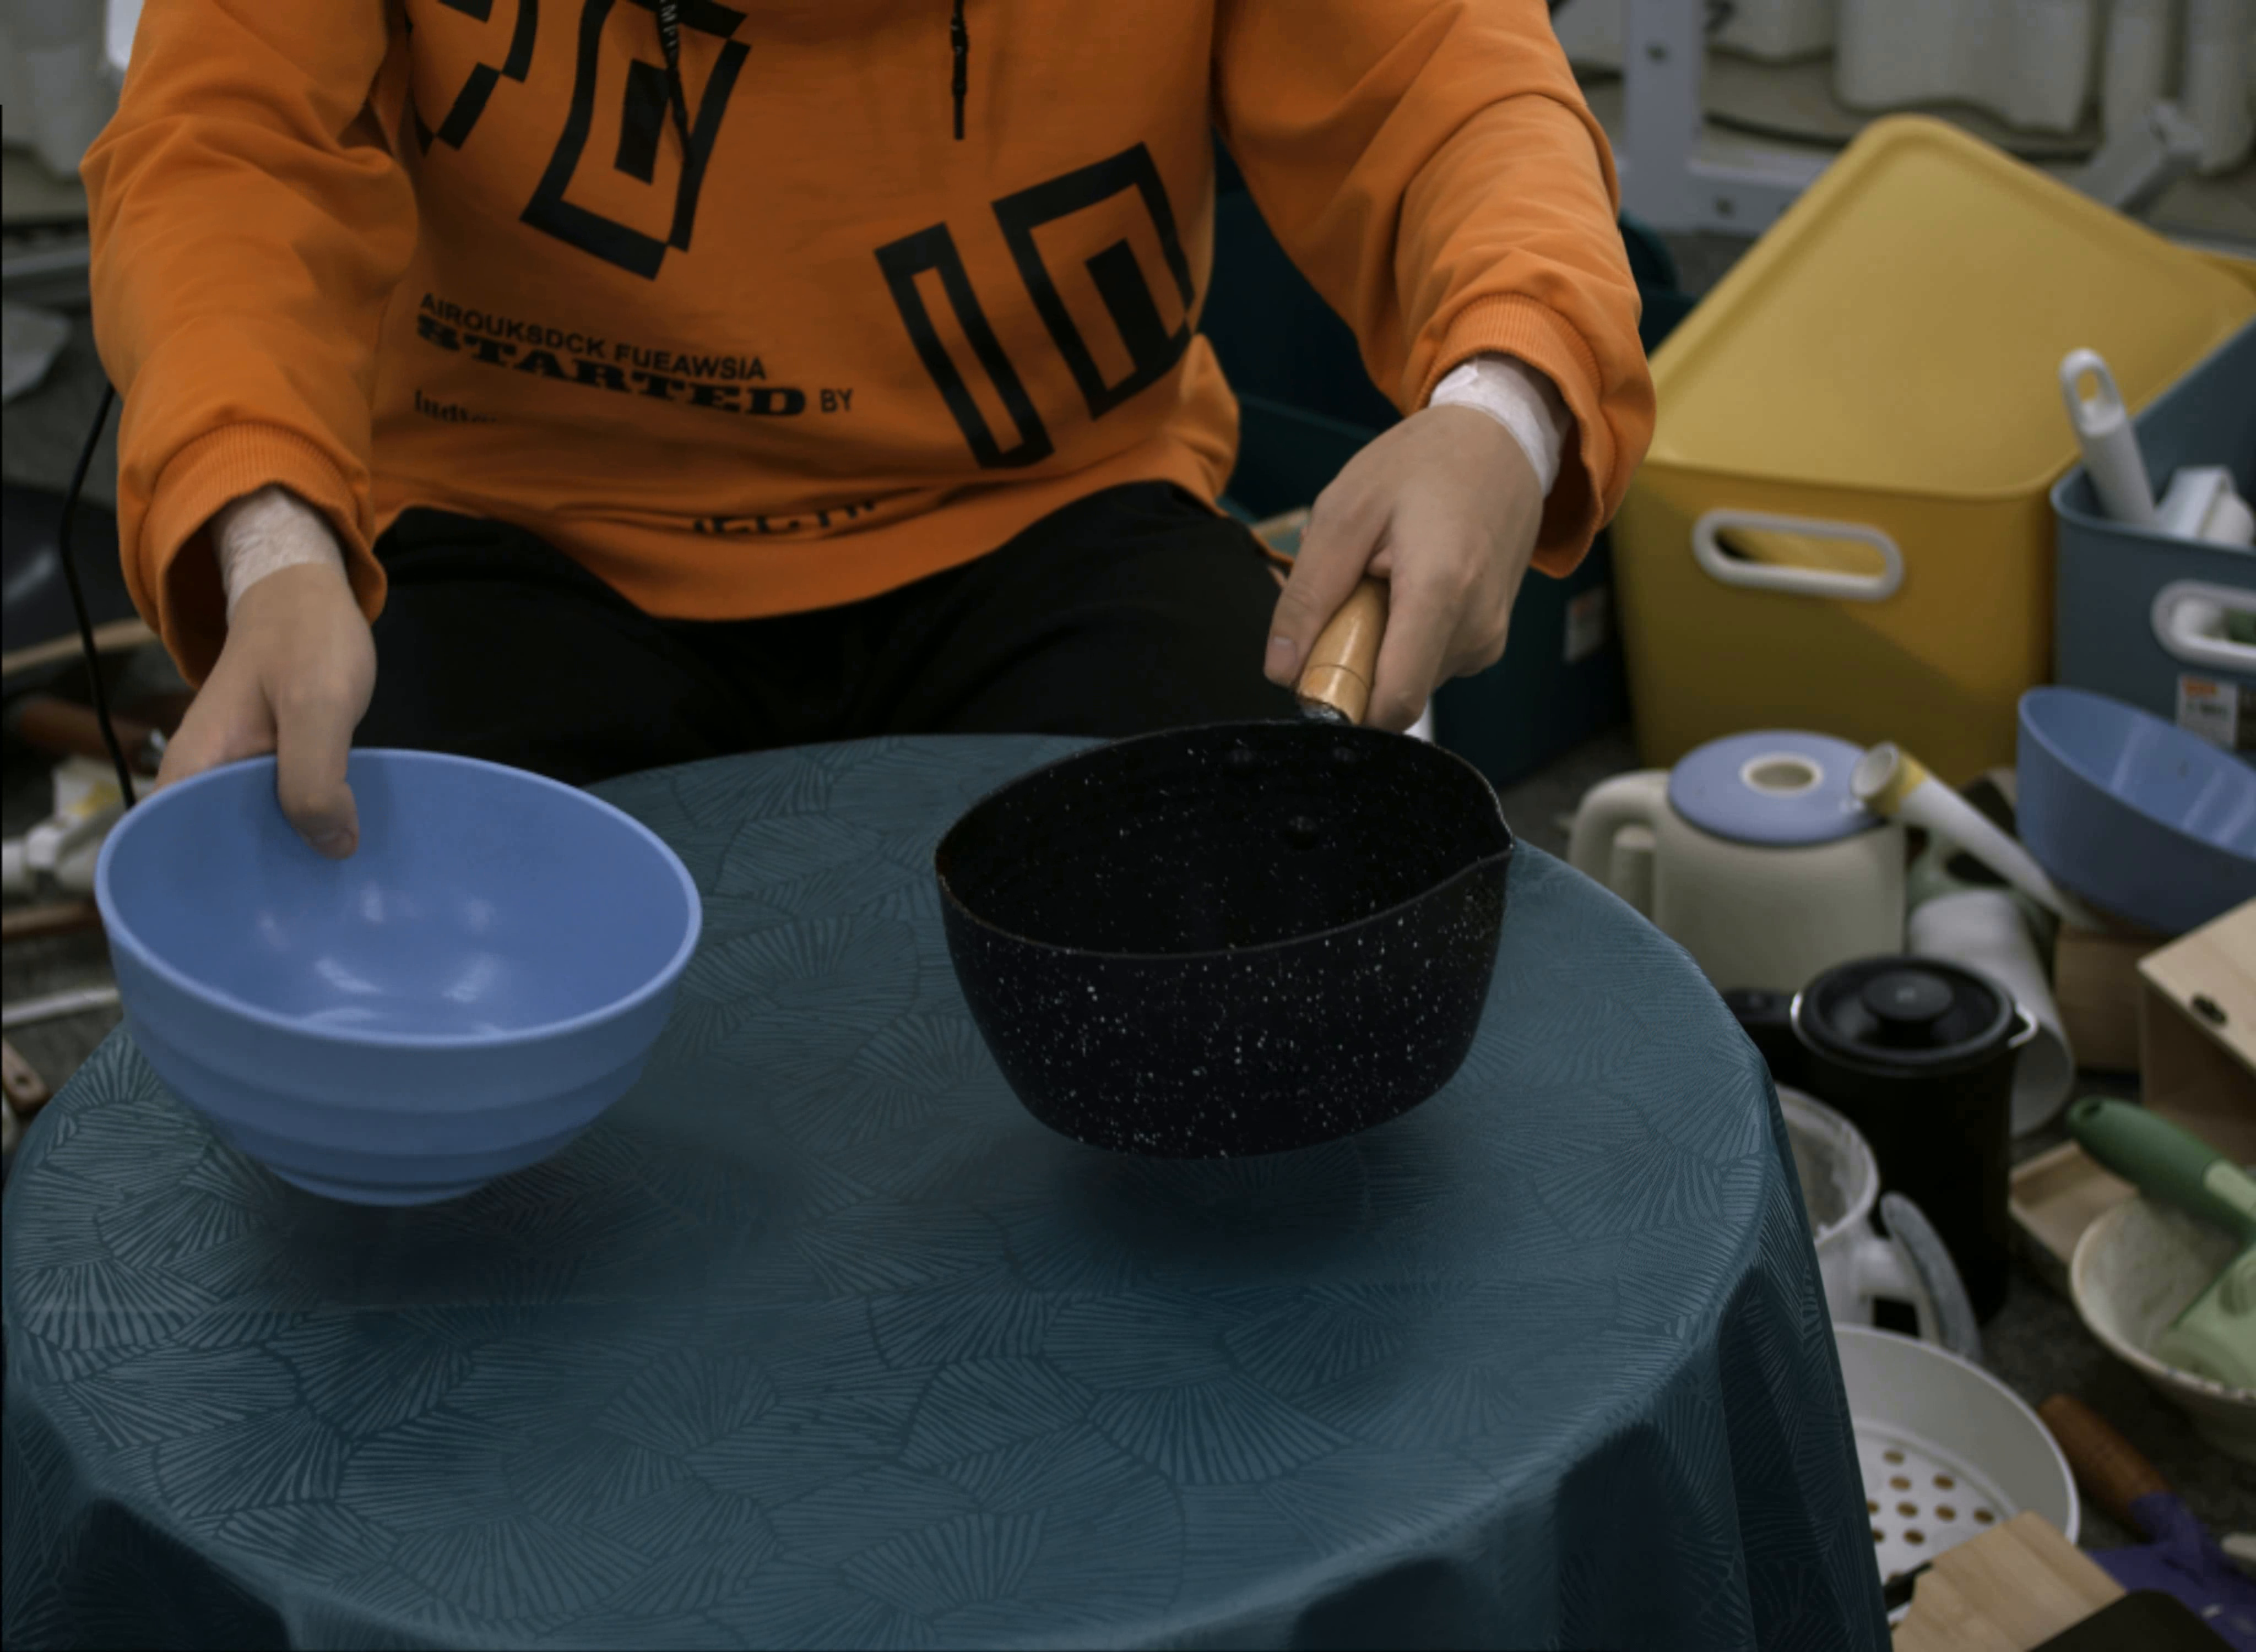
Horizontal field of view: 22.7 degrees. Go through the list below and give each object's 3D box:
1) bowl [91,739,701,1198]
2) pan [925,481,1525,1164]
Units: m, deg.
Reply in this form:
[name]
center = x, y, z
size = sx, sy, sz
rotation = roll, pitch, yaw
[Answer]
[bowl]
center = -0.241, 0.058, 1.834
size = 0.196, 0.094, 0.199
rotation = 7, 27, -3
[pan]
center = 0.054, -0.005, 1.908
size = 0.206, 0.107, 0.348
rotation = 0, 25, 17
